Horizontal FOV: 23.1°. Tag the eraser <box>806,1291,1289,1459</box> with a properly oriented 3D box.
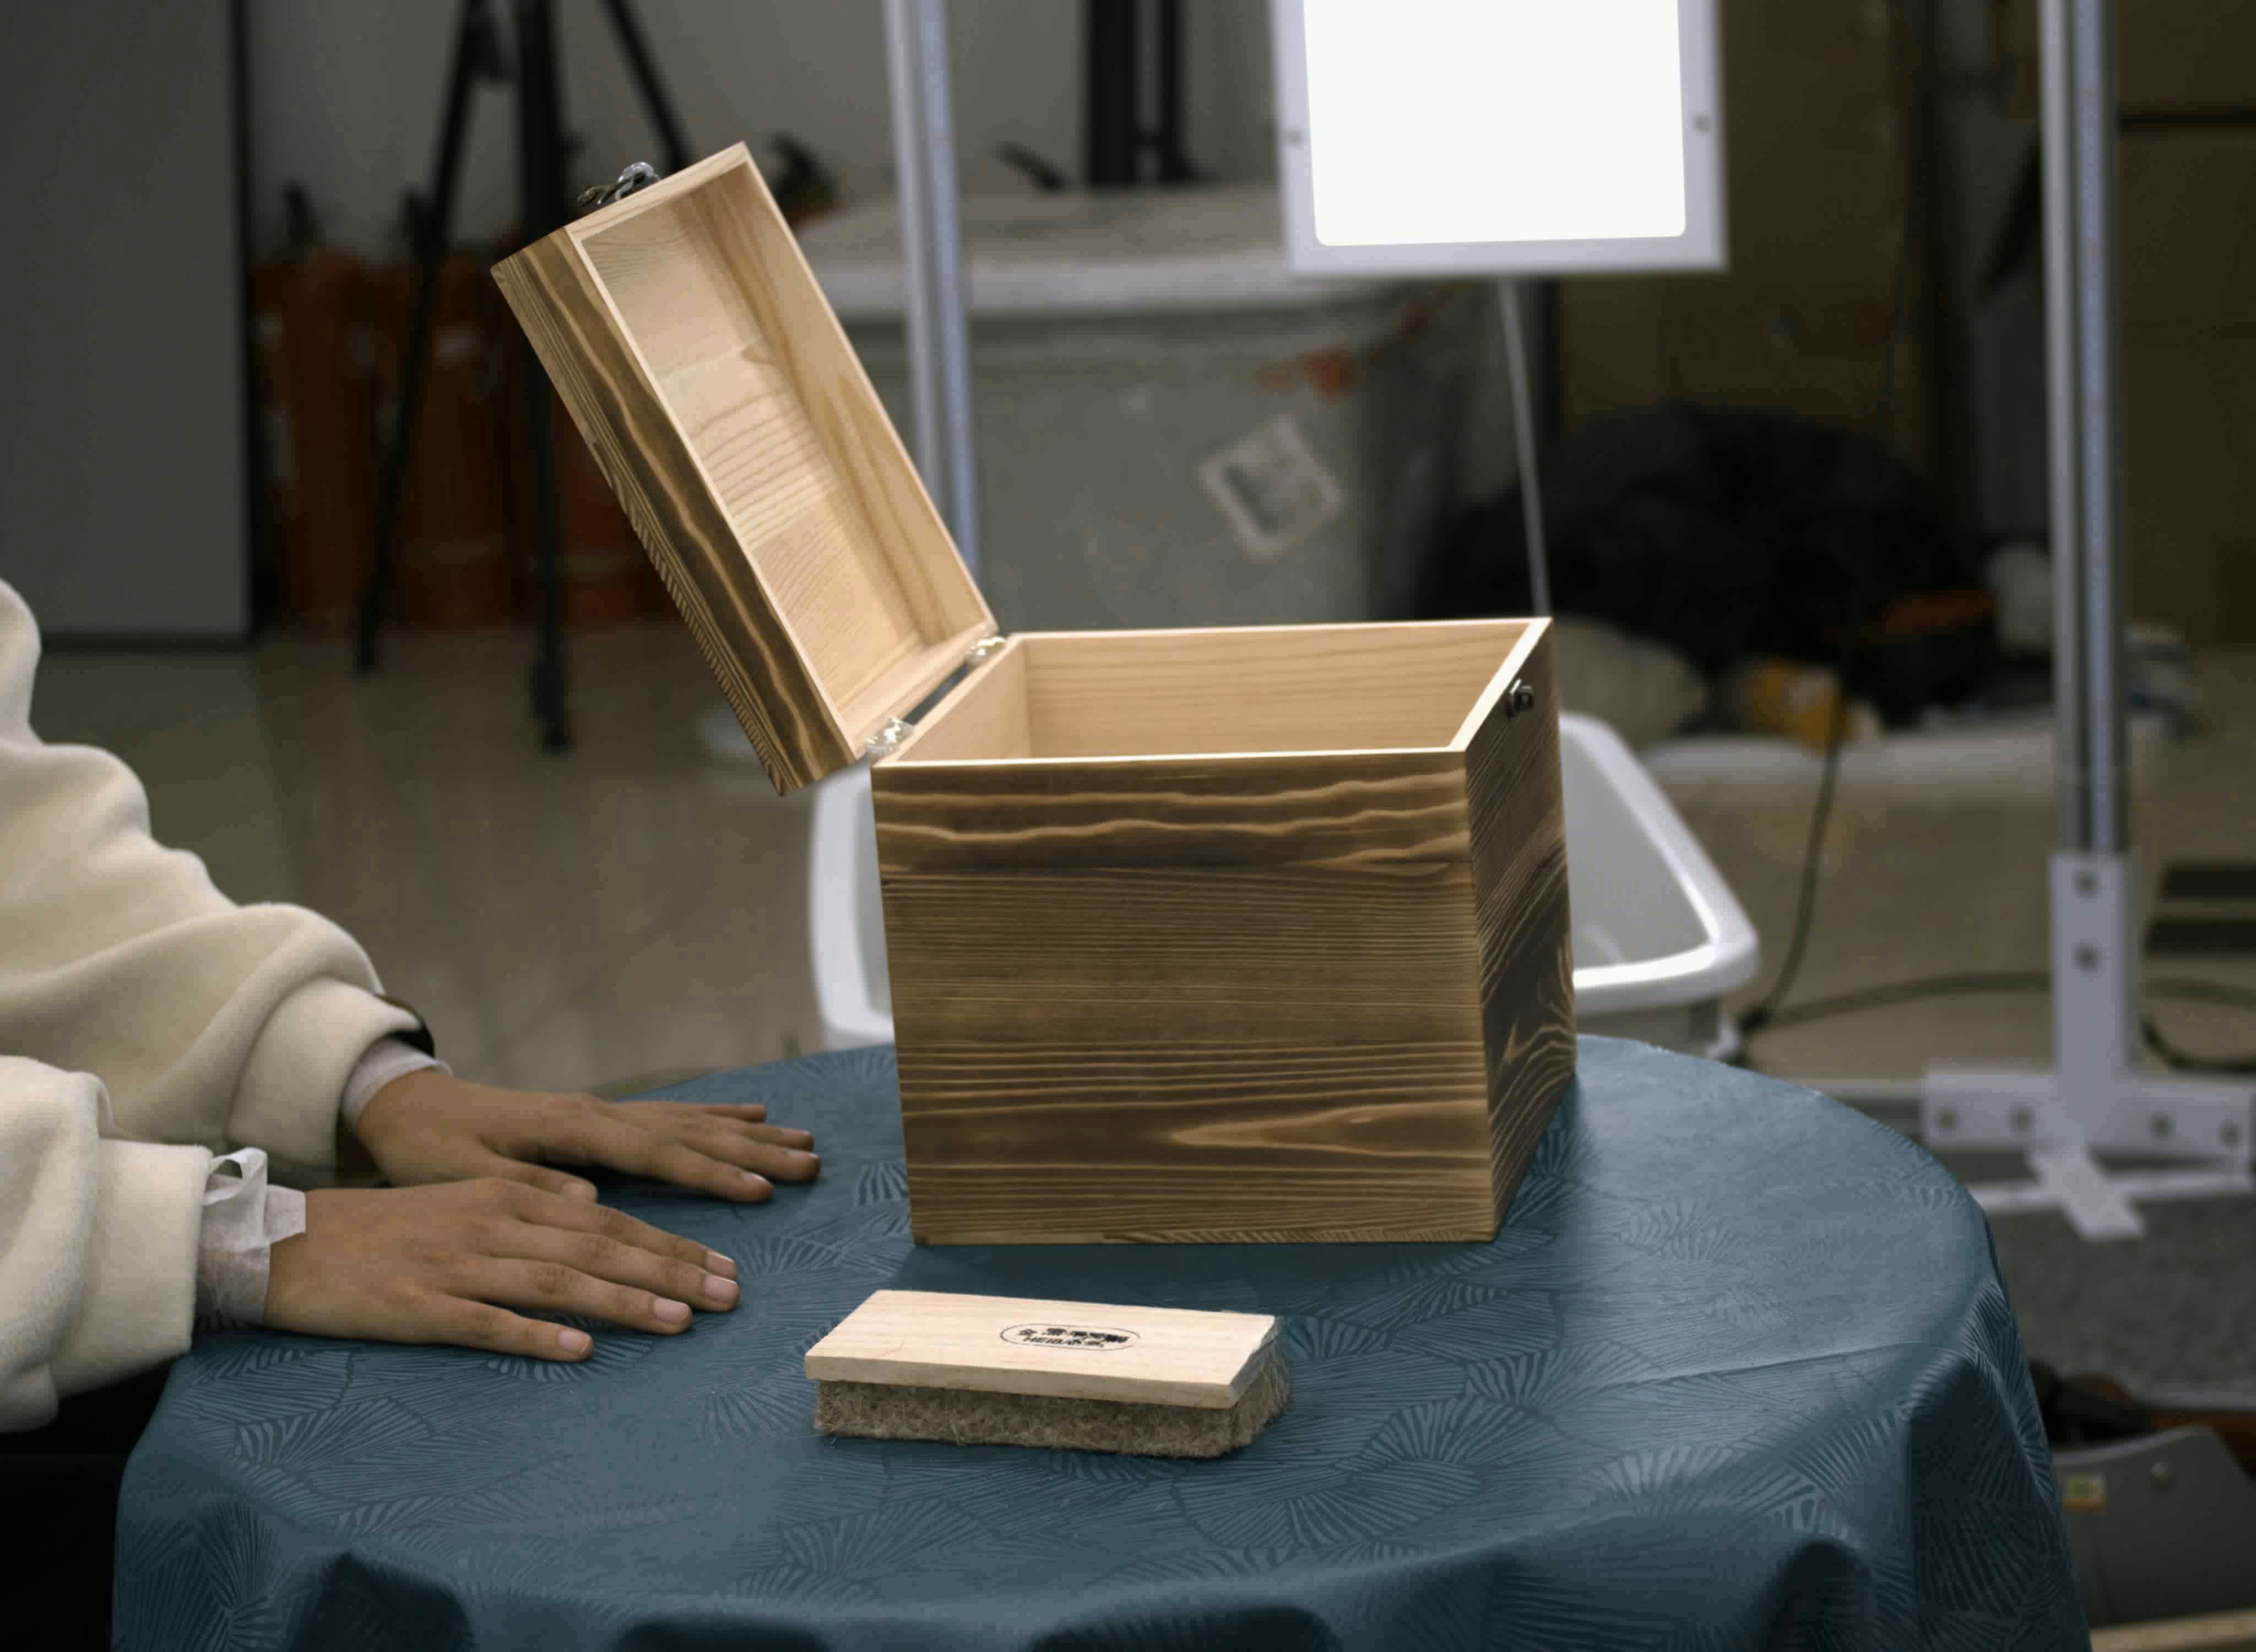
[{"bbox_3d":[-0.023,0.168,1.679,0.141,0.029,0.056,1,18,26],"label":"eraser"}]

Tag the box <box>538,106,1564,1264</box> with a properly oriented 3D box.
[{"bbox_3d":[-0.018,-0.059,1.895,0.325,0.377,0.206,-1,15,14],"label":"box"}]
